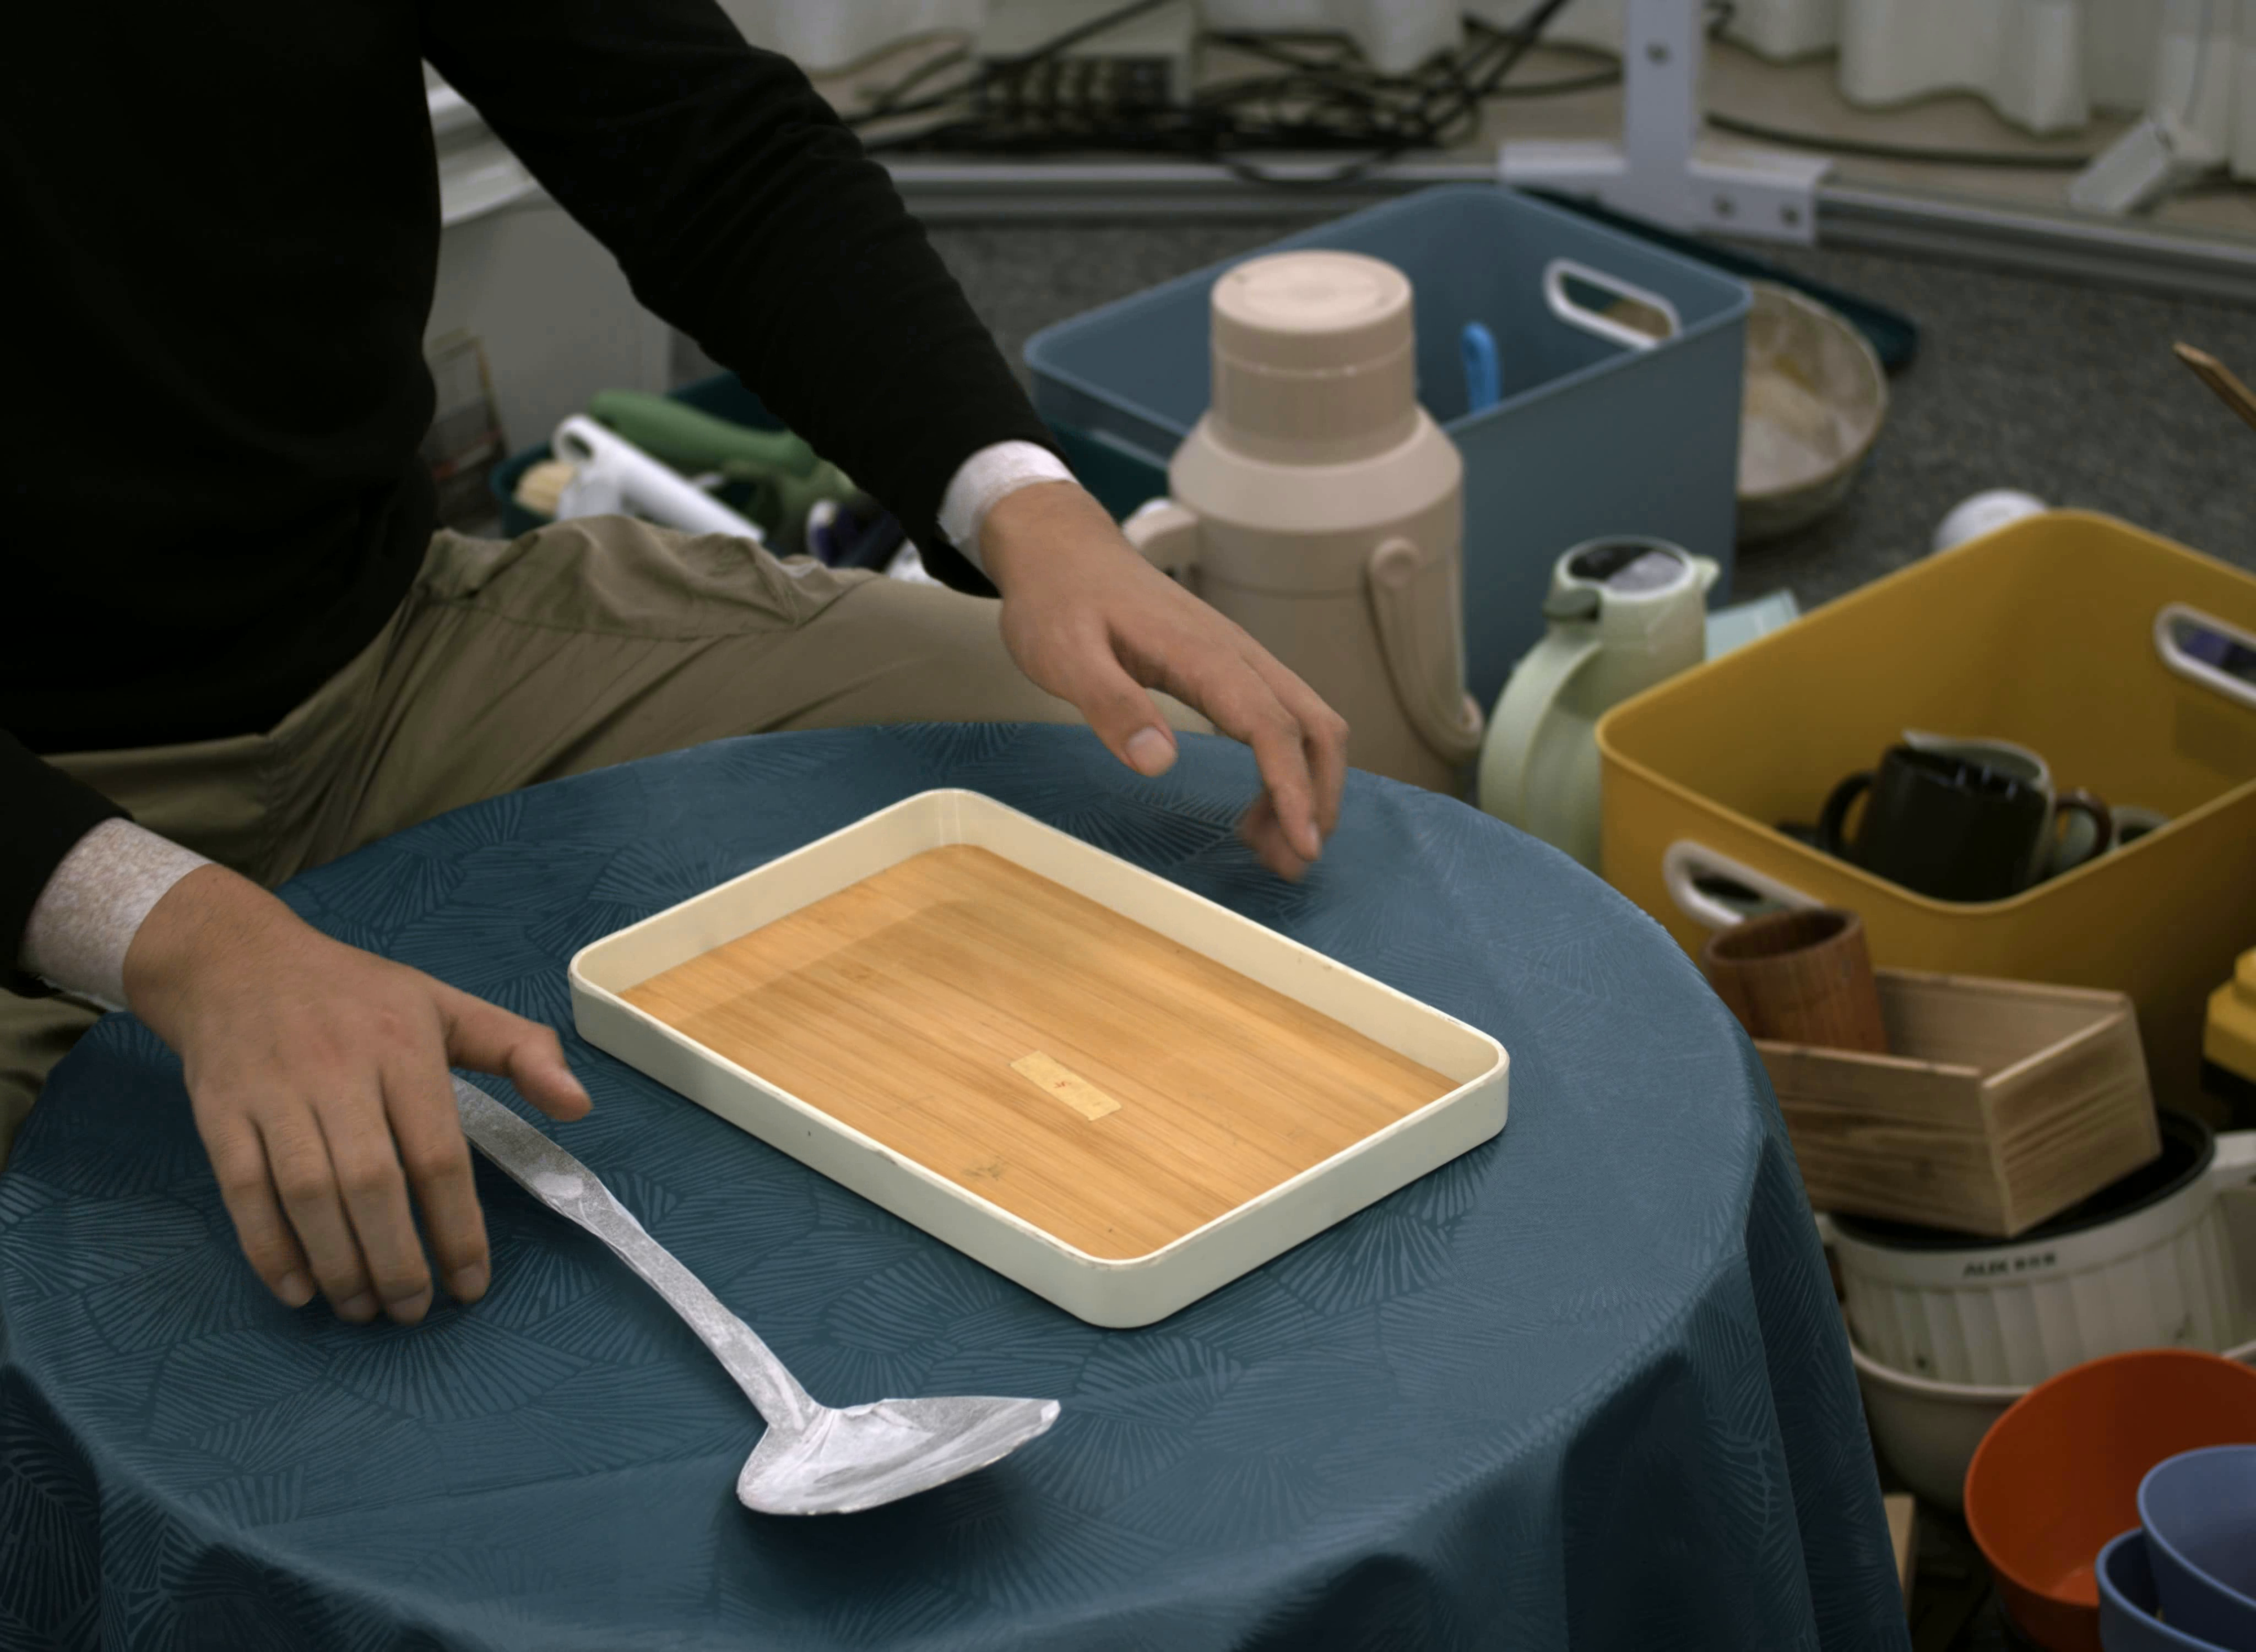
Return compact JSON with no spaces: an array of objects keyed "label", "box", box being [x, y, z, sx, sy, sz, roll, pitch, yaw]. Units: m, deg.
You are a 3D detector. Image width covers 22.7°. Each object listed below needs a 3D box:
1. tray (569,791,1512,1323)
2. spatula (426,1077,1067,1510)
[{"label":"tray","box":[-0.033,0.074,1.928,0.194,0.027,0.300,-24,34,-35]},{"label":"spatula","box":[-0.146,0.141,1.798,0.099,0.044,0.366,-19,32,-27]}]
